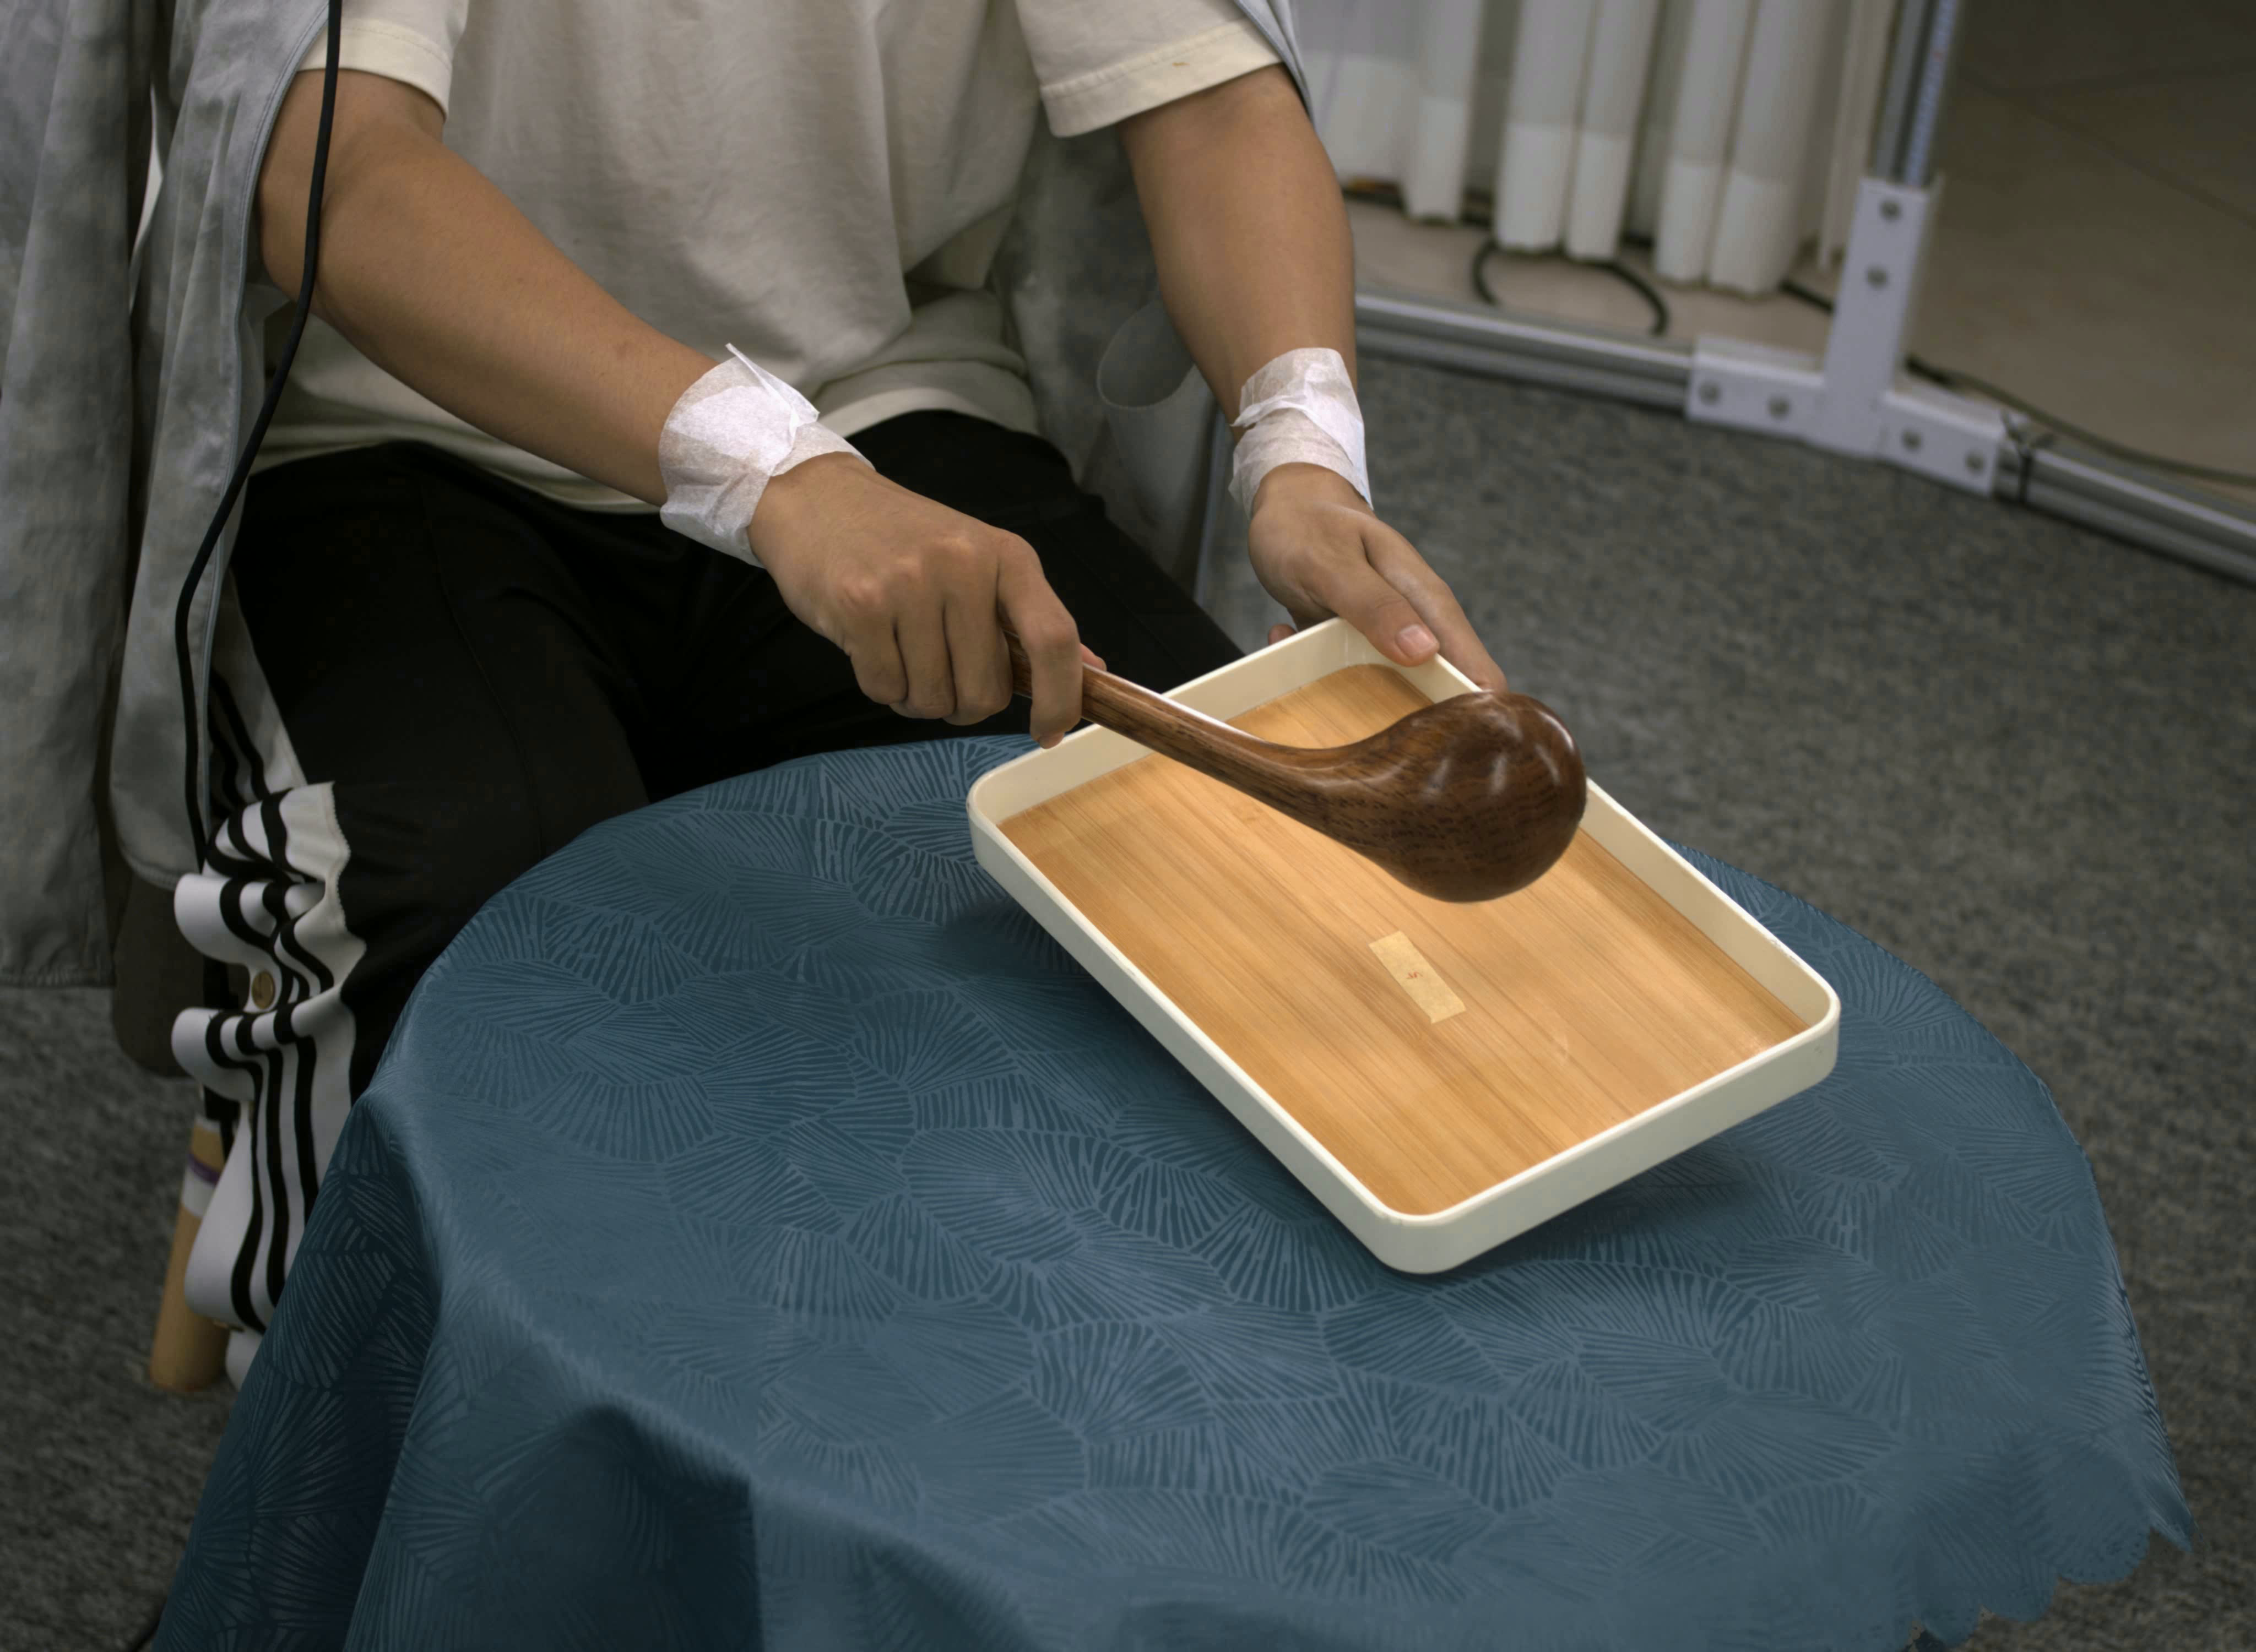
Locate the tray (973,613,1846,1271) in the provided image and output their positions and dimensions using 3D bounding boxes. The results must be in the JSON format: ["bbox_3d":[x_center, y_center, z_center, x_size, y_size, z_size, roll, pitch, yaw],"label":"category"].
[{"bbox_3d":[0.095,0.035,1.893,0.191,0.027,0.303,-24,42,-21],"label":"tray"}]

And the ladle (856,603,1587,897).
[{"bbox_3d":[0.033,-0.044,1.877,0.276,0.081,0.076,21,31,31],"label":"ladle"}]
